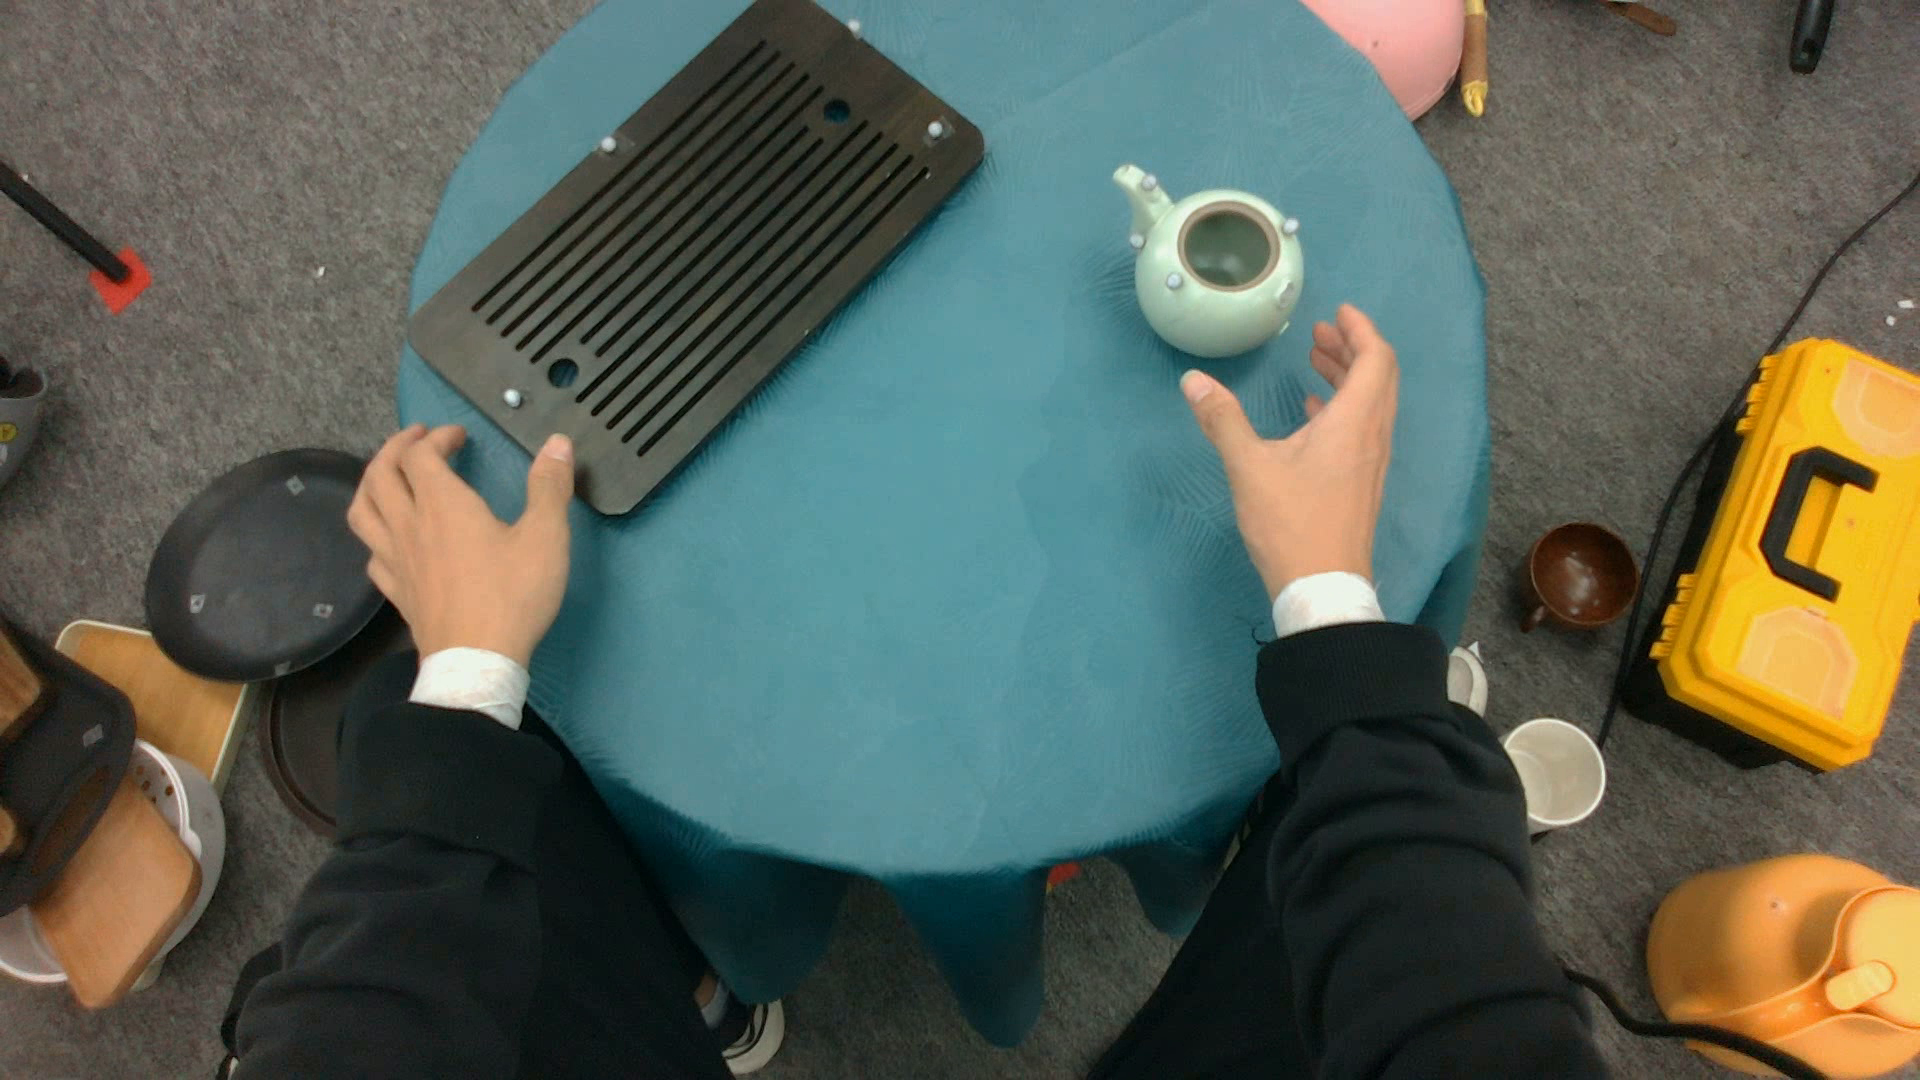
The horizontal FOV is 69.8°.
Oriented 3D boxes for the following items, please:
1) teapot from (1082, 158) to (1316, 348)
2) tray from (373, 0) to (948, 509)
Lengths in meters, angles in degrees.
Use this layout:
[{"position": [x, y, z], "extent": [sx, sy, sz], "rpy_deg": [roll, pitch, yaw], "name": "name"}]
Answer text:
[{"position": [0.123, -0.147, 0.737], "extent": [0.144, 0.074, 0.088], "rpy_deg": [37, 75, 13], "name": "teapot"}, {"position": [-0.163, -0.172, 0.773], "extent": [0.170, 0.018, 0.306], "rpy_deg": [39, 76, 12], "name": "tray"}]
